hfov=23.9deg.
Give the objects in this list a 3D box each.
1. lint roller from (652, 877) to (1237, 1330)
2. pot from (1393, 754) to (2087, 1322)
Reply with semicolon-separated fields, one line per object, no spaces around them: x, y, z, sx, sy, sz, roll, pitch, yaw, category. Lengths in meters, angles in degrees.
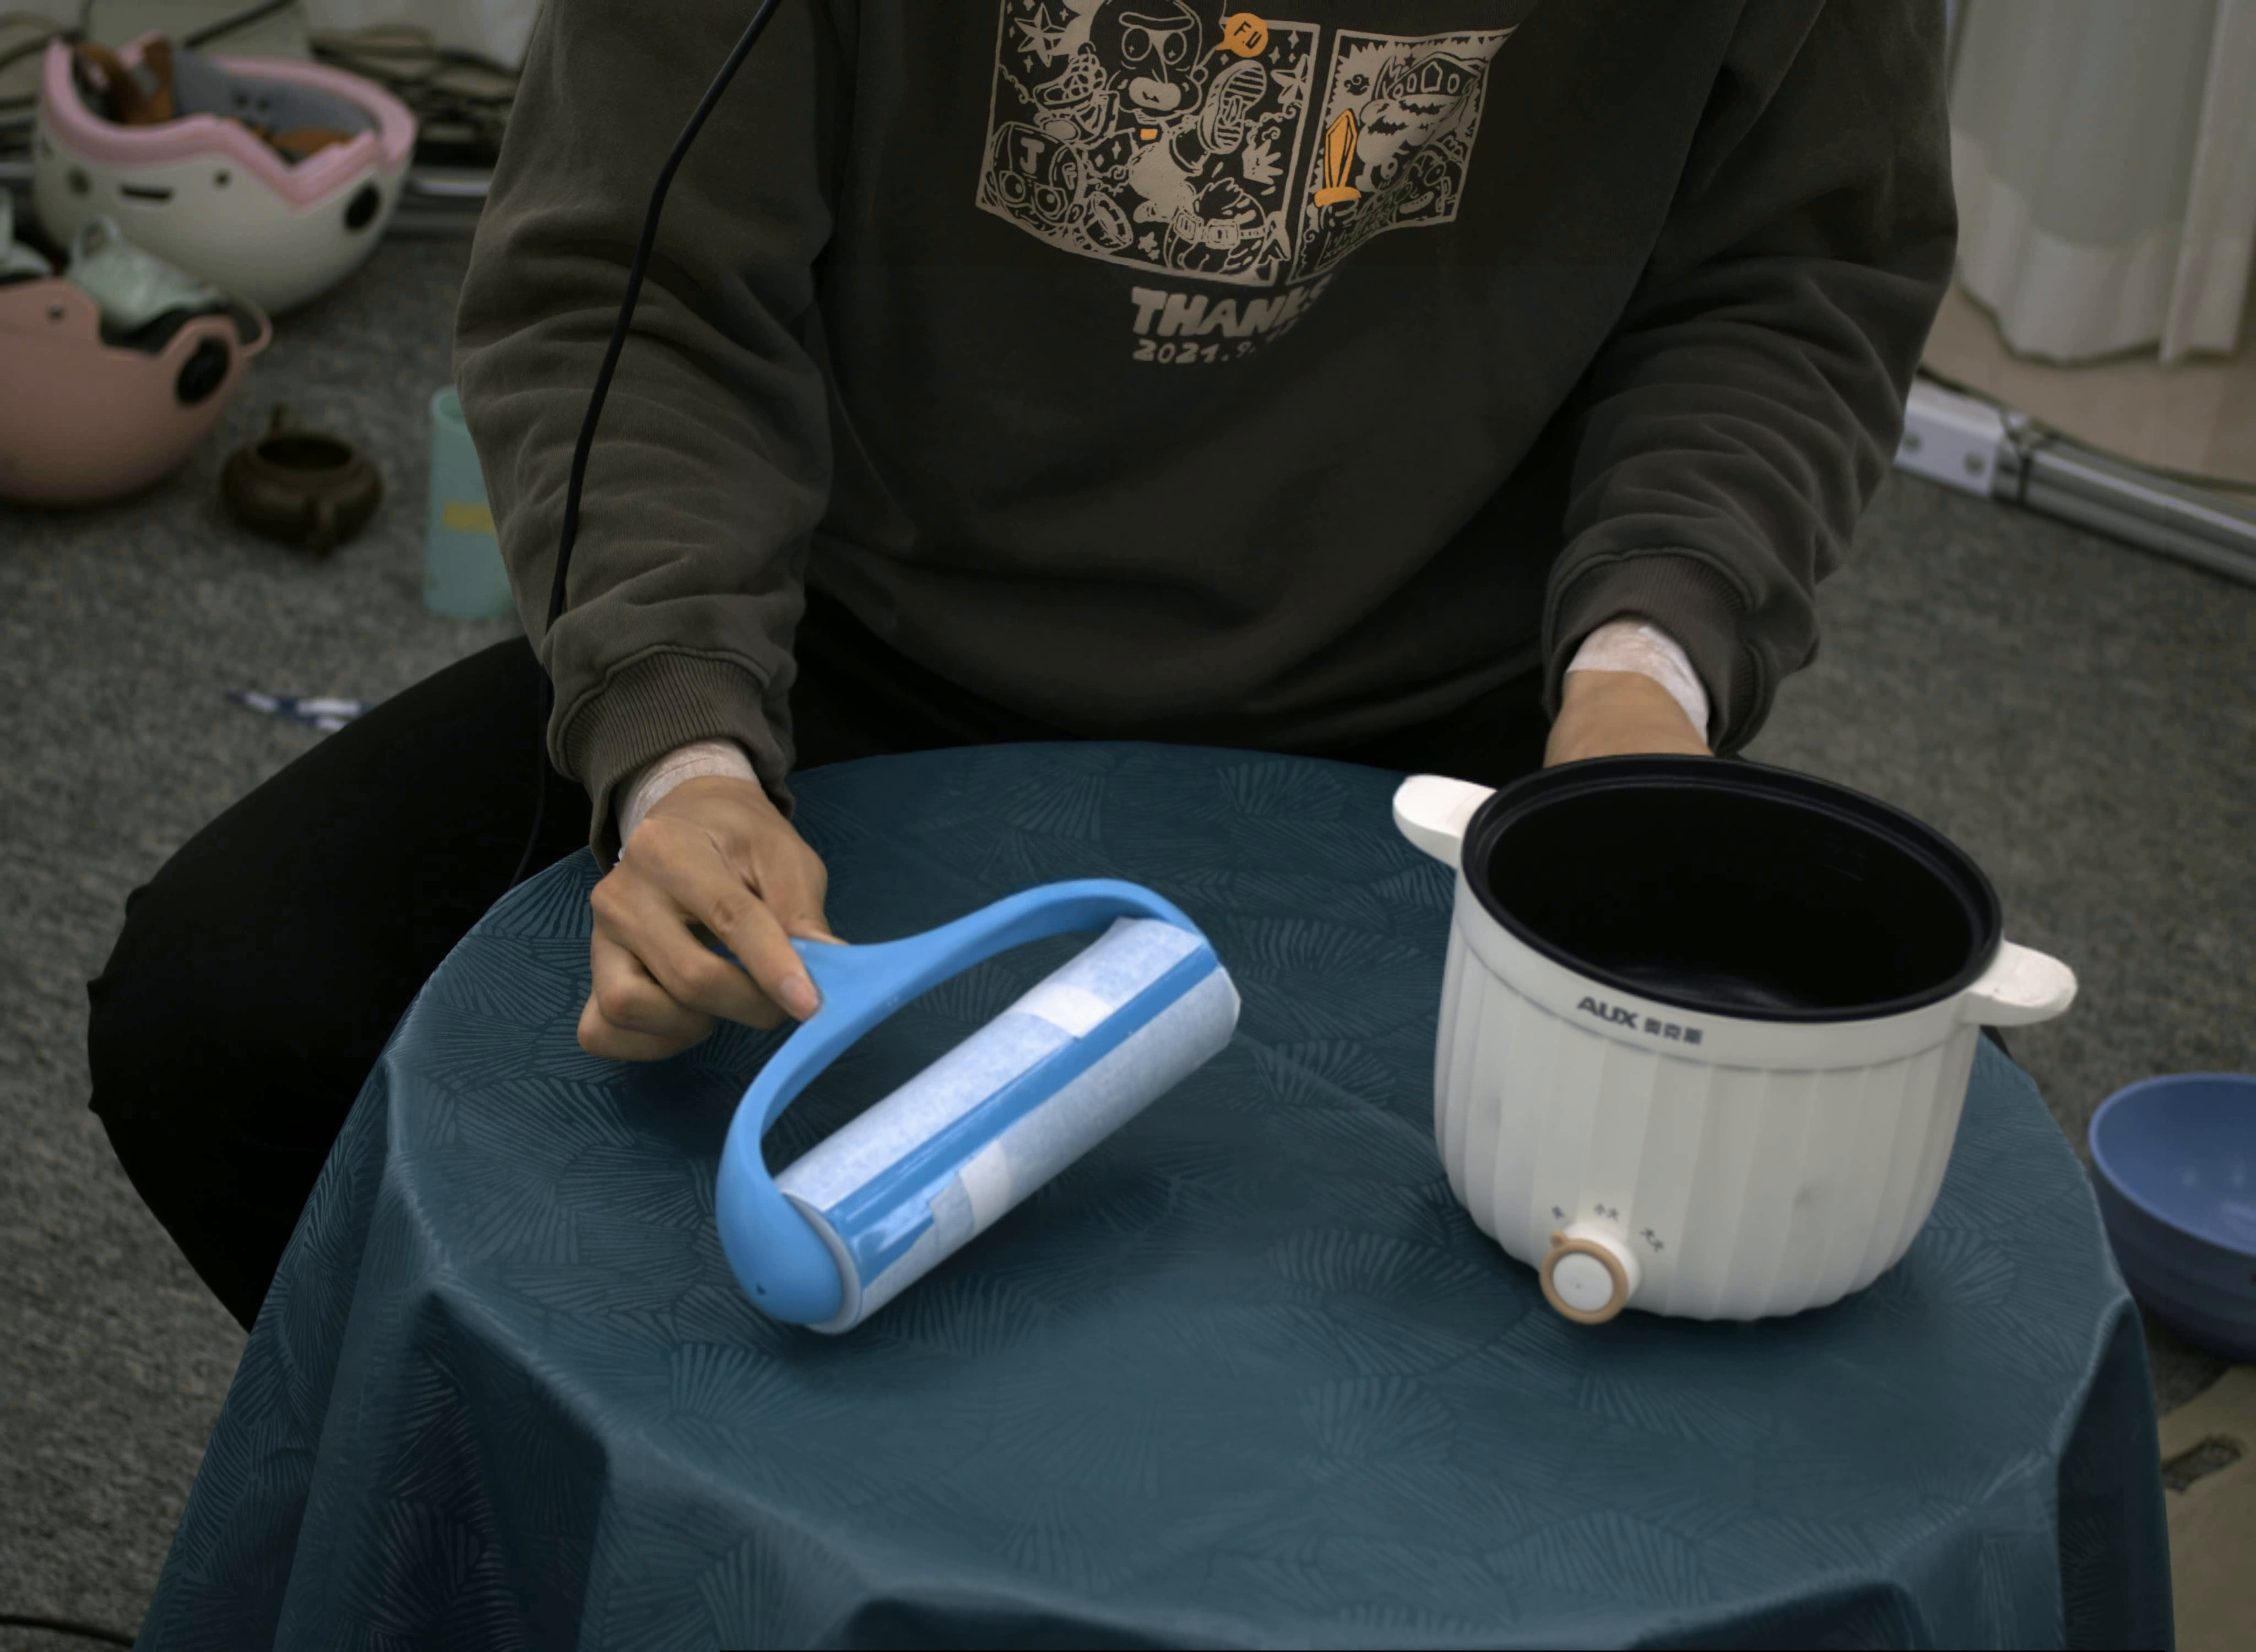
-0.091;0.071;1.777;0.181;0.067;0.228;25;43;28;lint roller
0.193;0.078;1.784;0.241;0.142;0.190;15;25;20;pot
